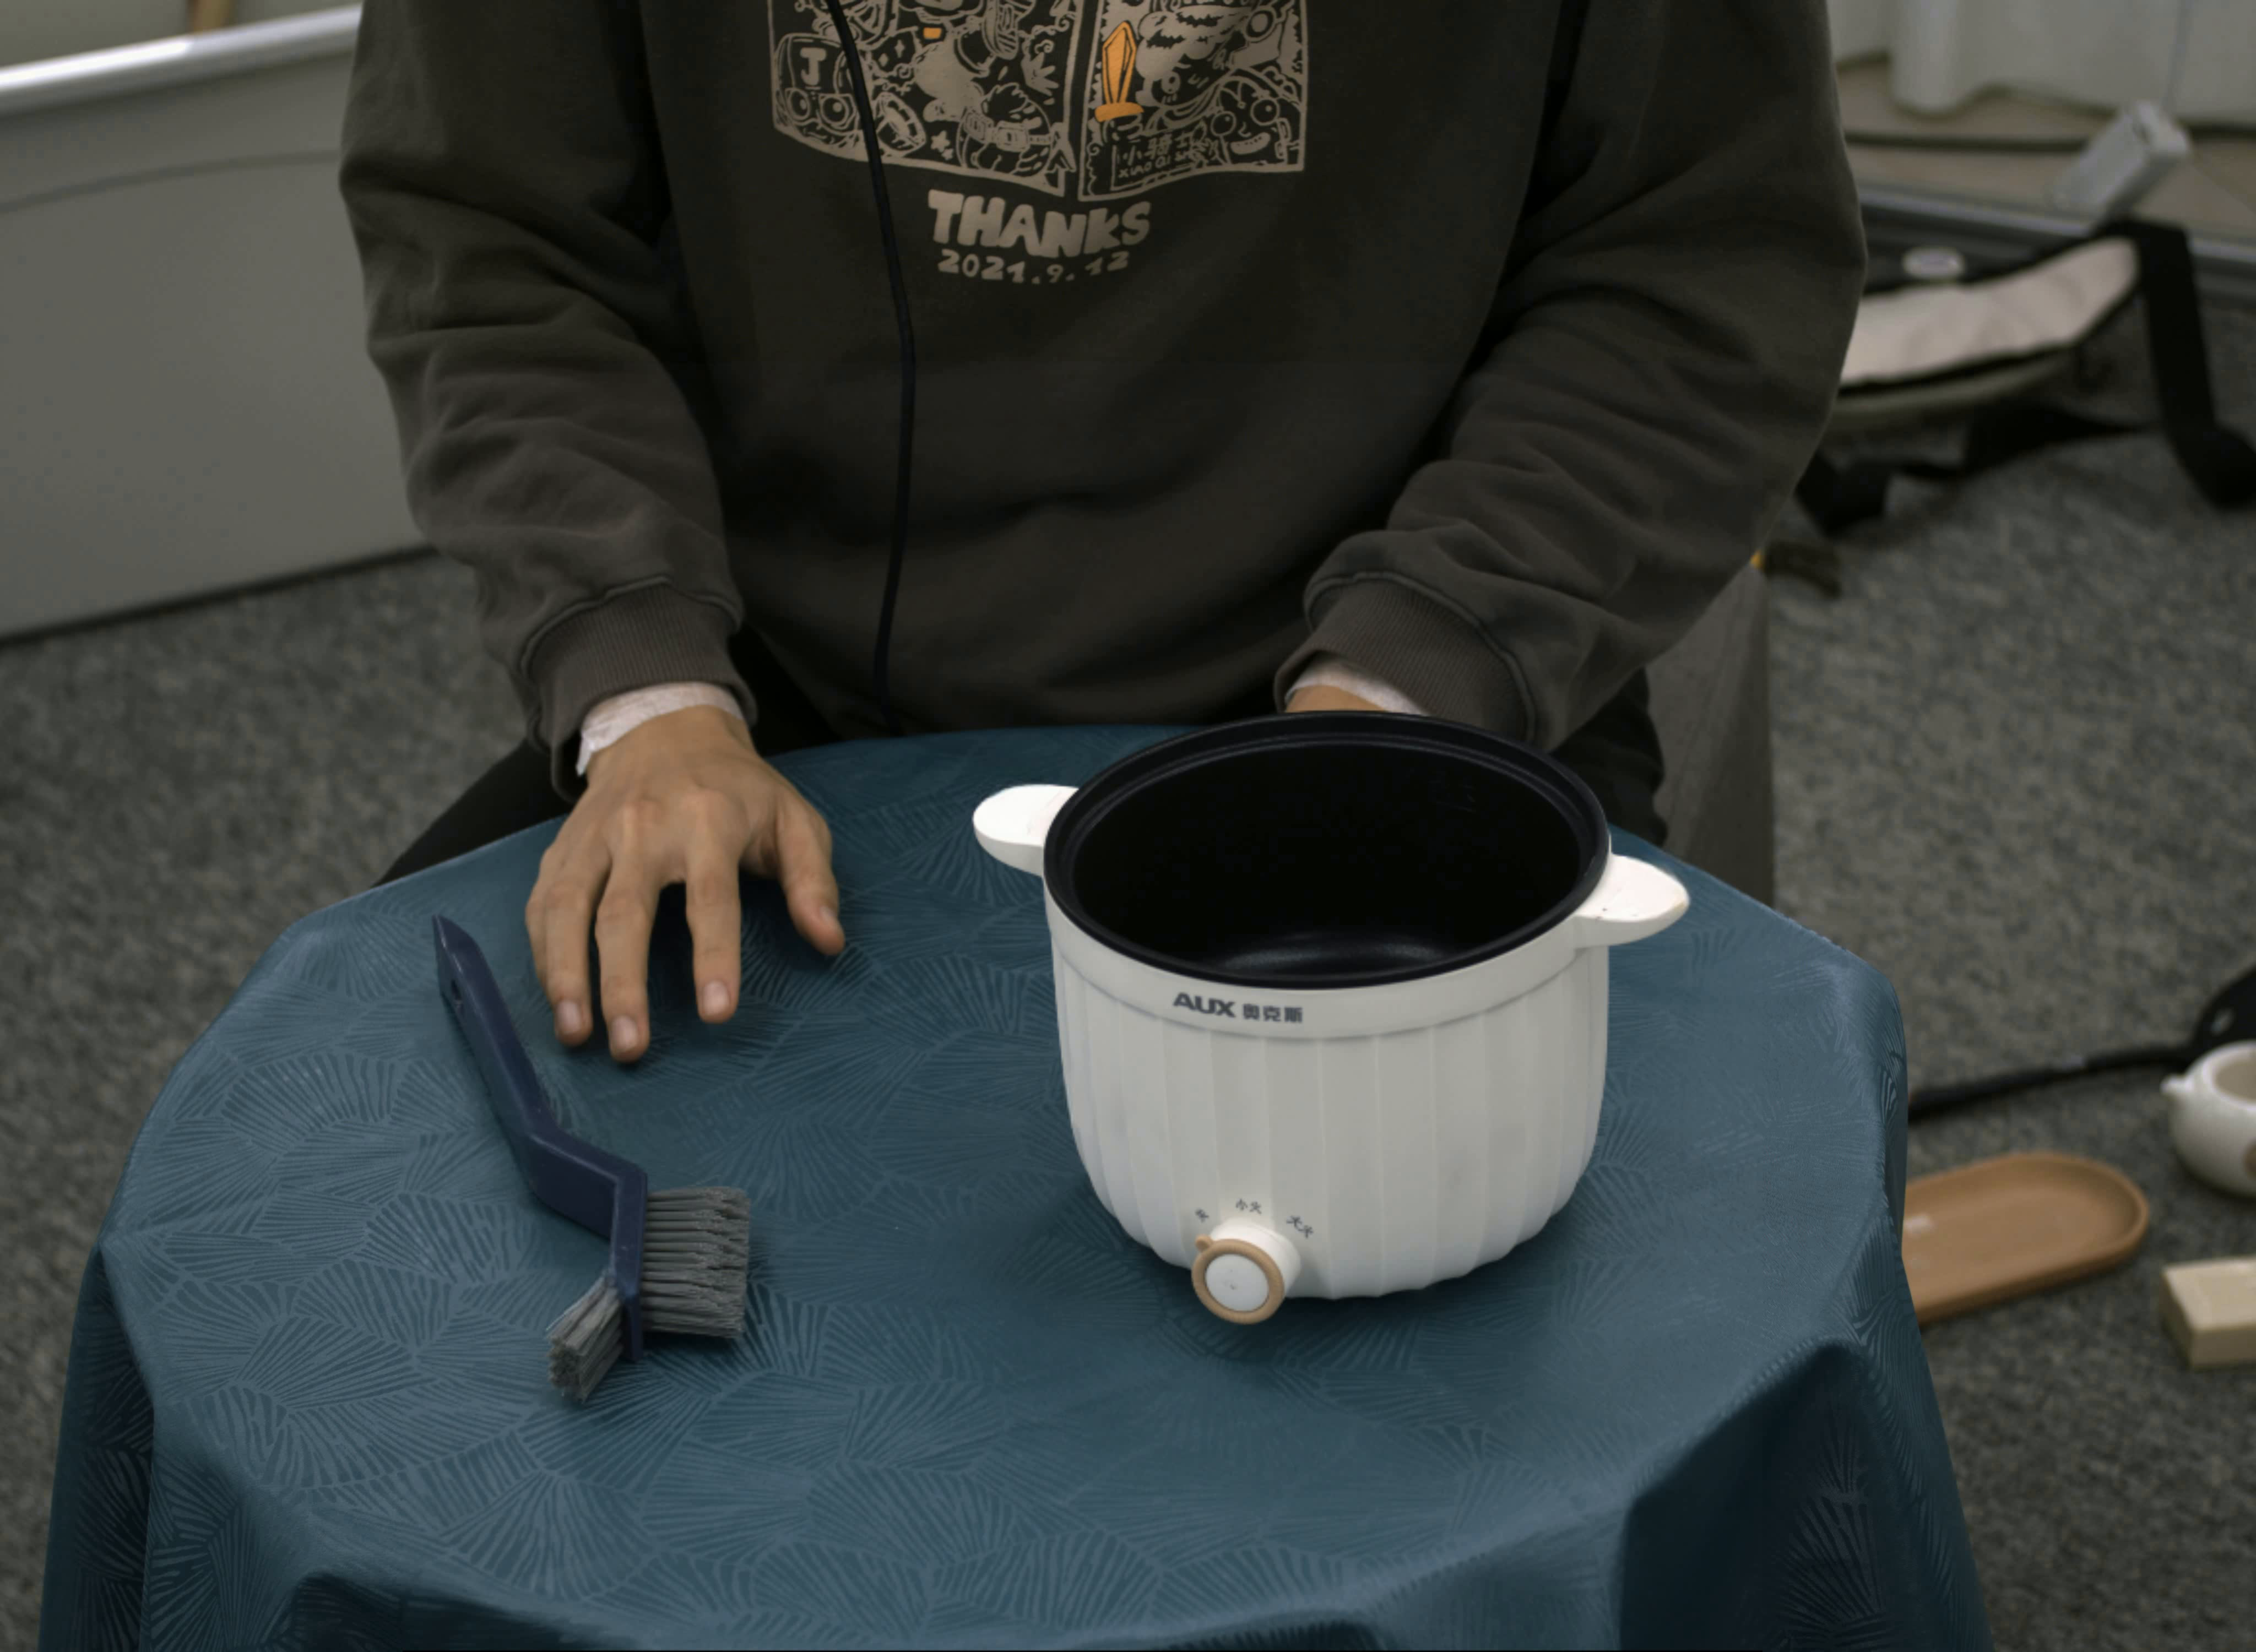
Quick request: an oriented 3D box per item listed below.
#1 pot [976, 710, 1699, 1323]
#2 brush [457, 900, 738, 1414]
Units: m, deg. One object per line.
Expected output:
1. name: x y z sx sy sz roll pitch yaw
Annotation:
1. pot: 0.067 0.065 1.814 0.238 0.141 0.193 6 25 19
2. brush: -0.203 0.106 1.878 0.096 0.033 0.275 -15 31 -21
